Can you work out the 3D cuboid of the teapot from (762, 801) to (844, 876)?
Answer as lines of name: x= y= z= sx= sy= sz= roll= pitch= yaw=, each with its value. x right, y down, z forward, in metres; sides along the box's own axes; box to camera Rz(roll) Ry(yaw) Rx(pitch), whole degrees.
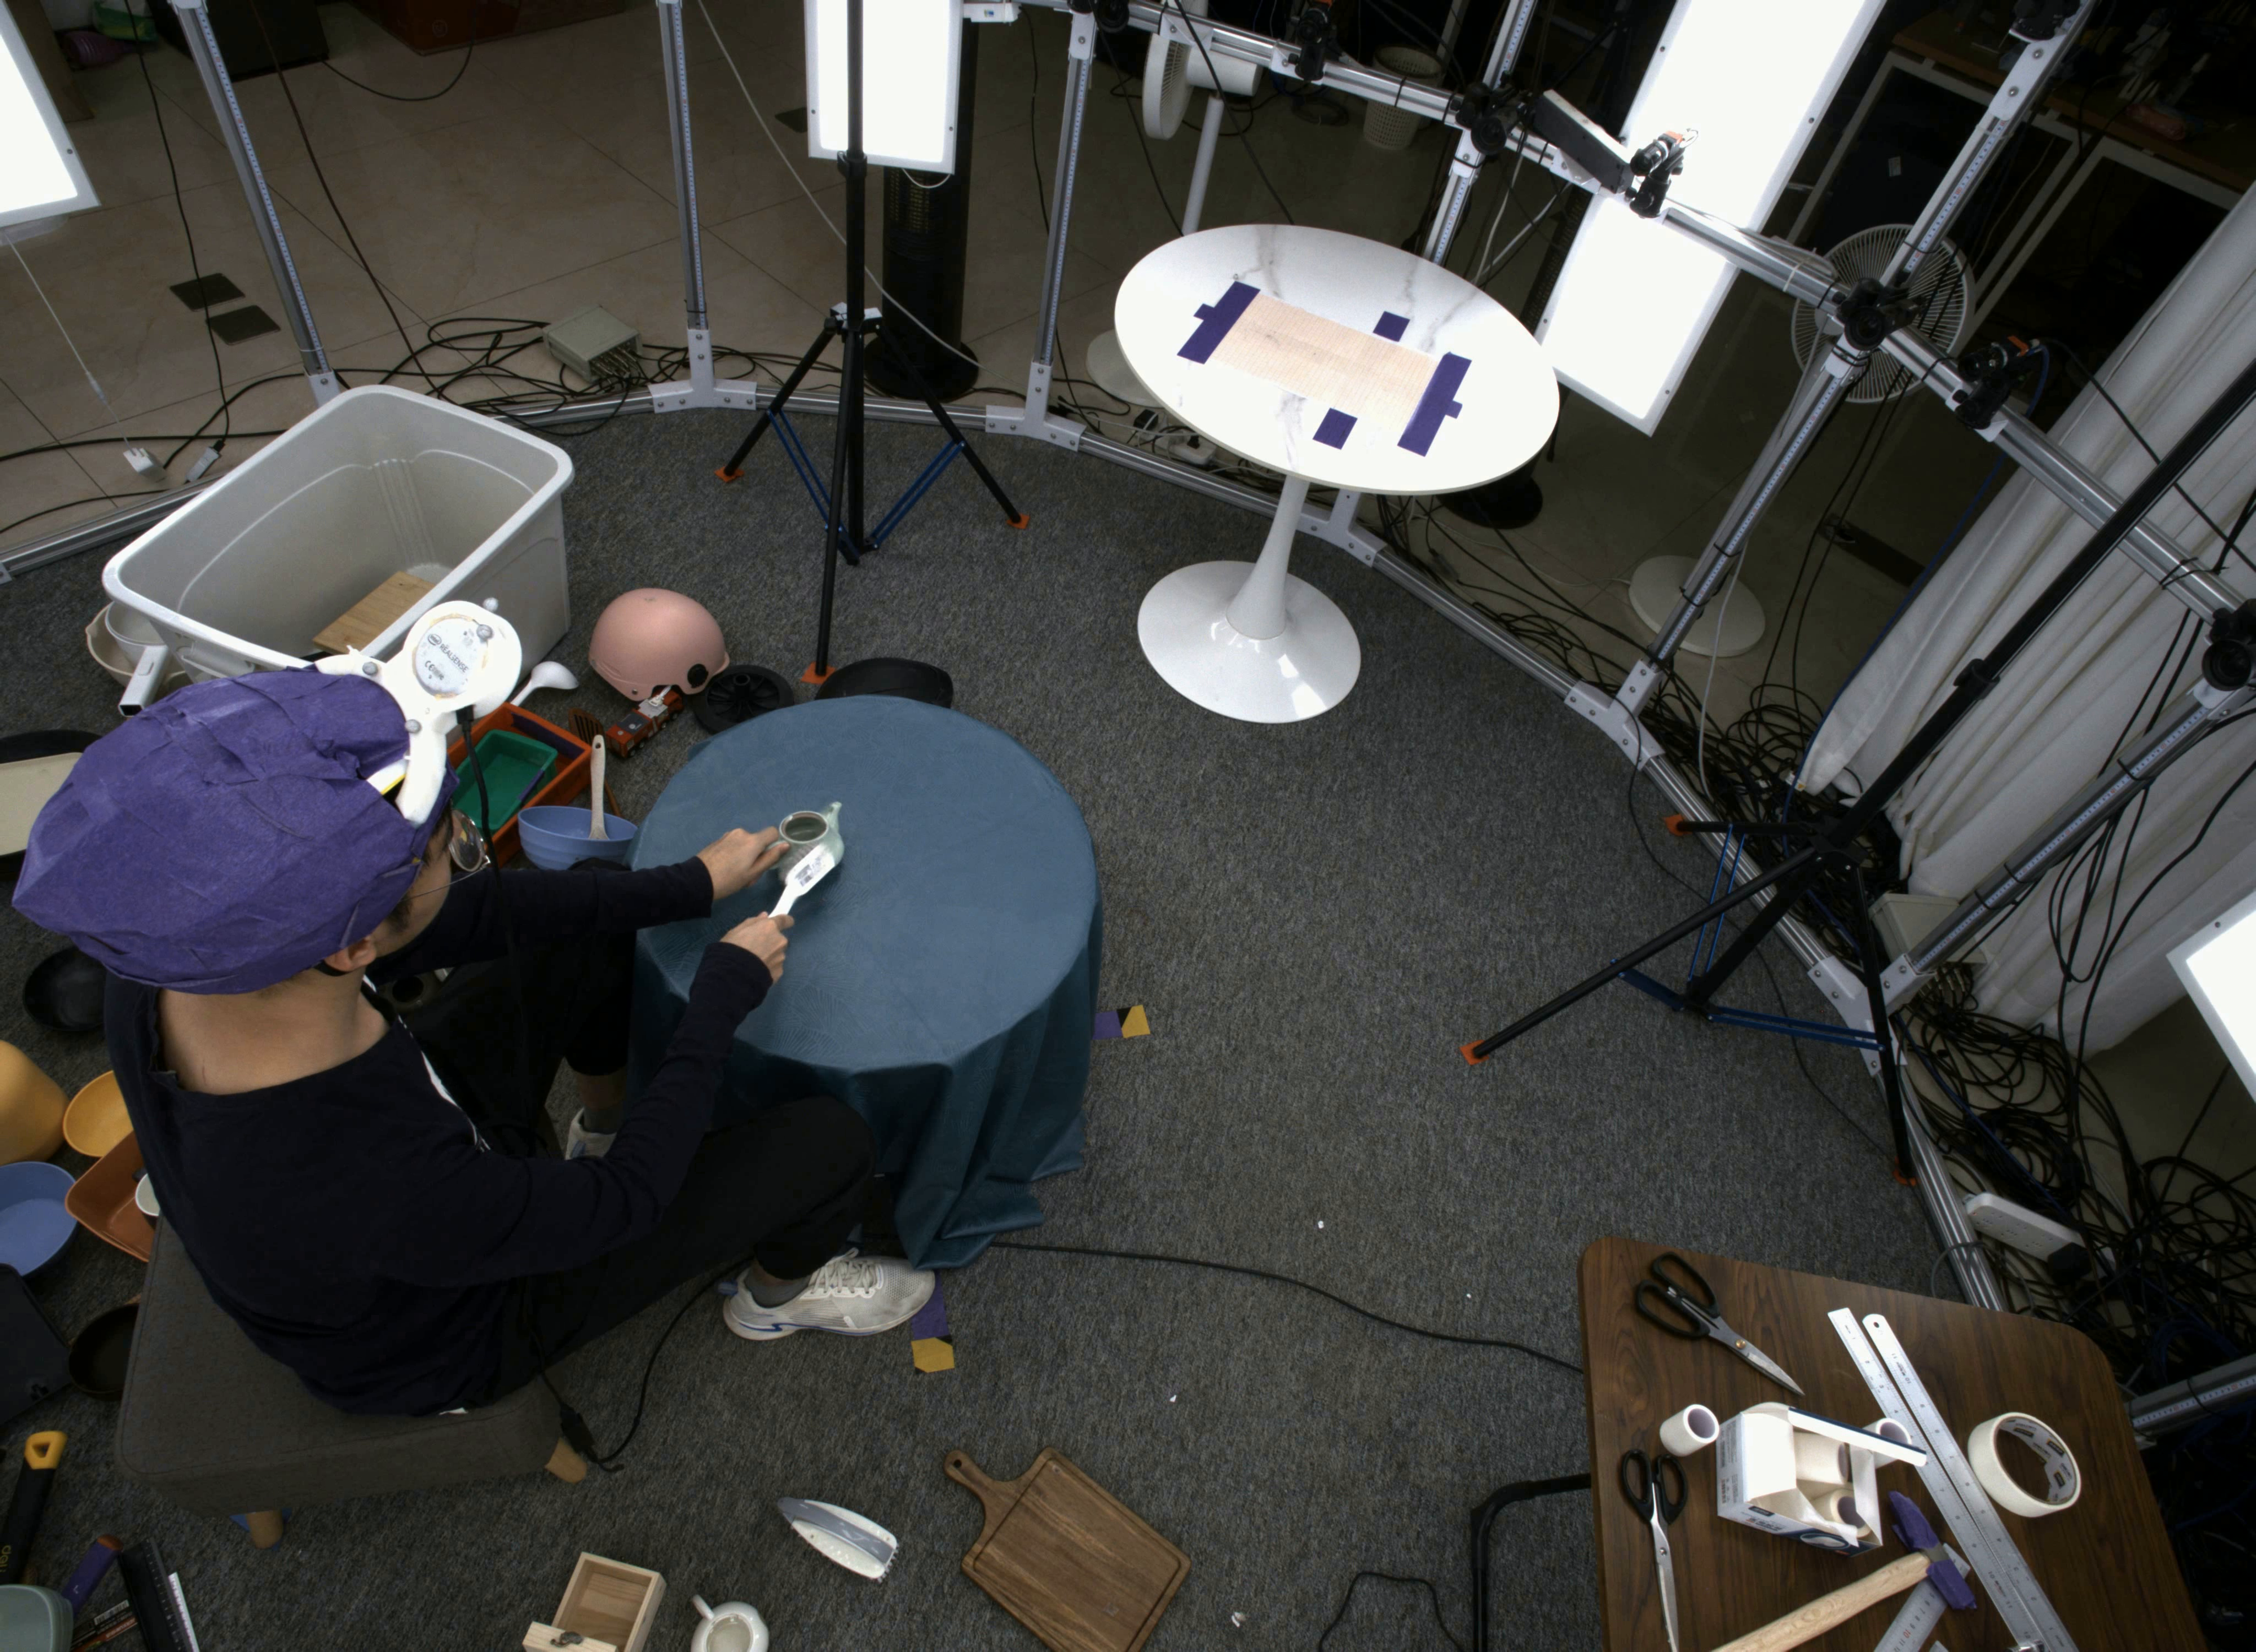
teapot: x=-0.418 y=0.022 z=1.665 sx=0.093 sy=0.063 sz=0.137 roll=29 pitch=44 yaw=19

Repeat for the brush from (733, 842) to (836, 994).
brush: x=-0.422 y=0.106 z=1.552 sx=0.049 sy=0.036 sz=0.241 roll=-3 pitch=40 yaw=26
